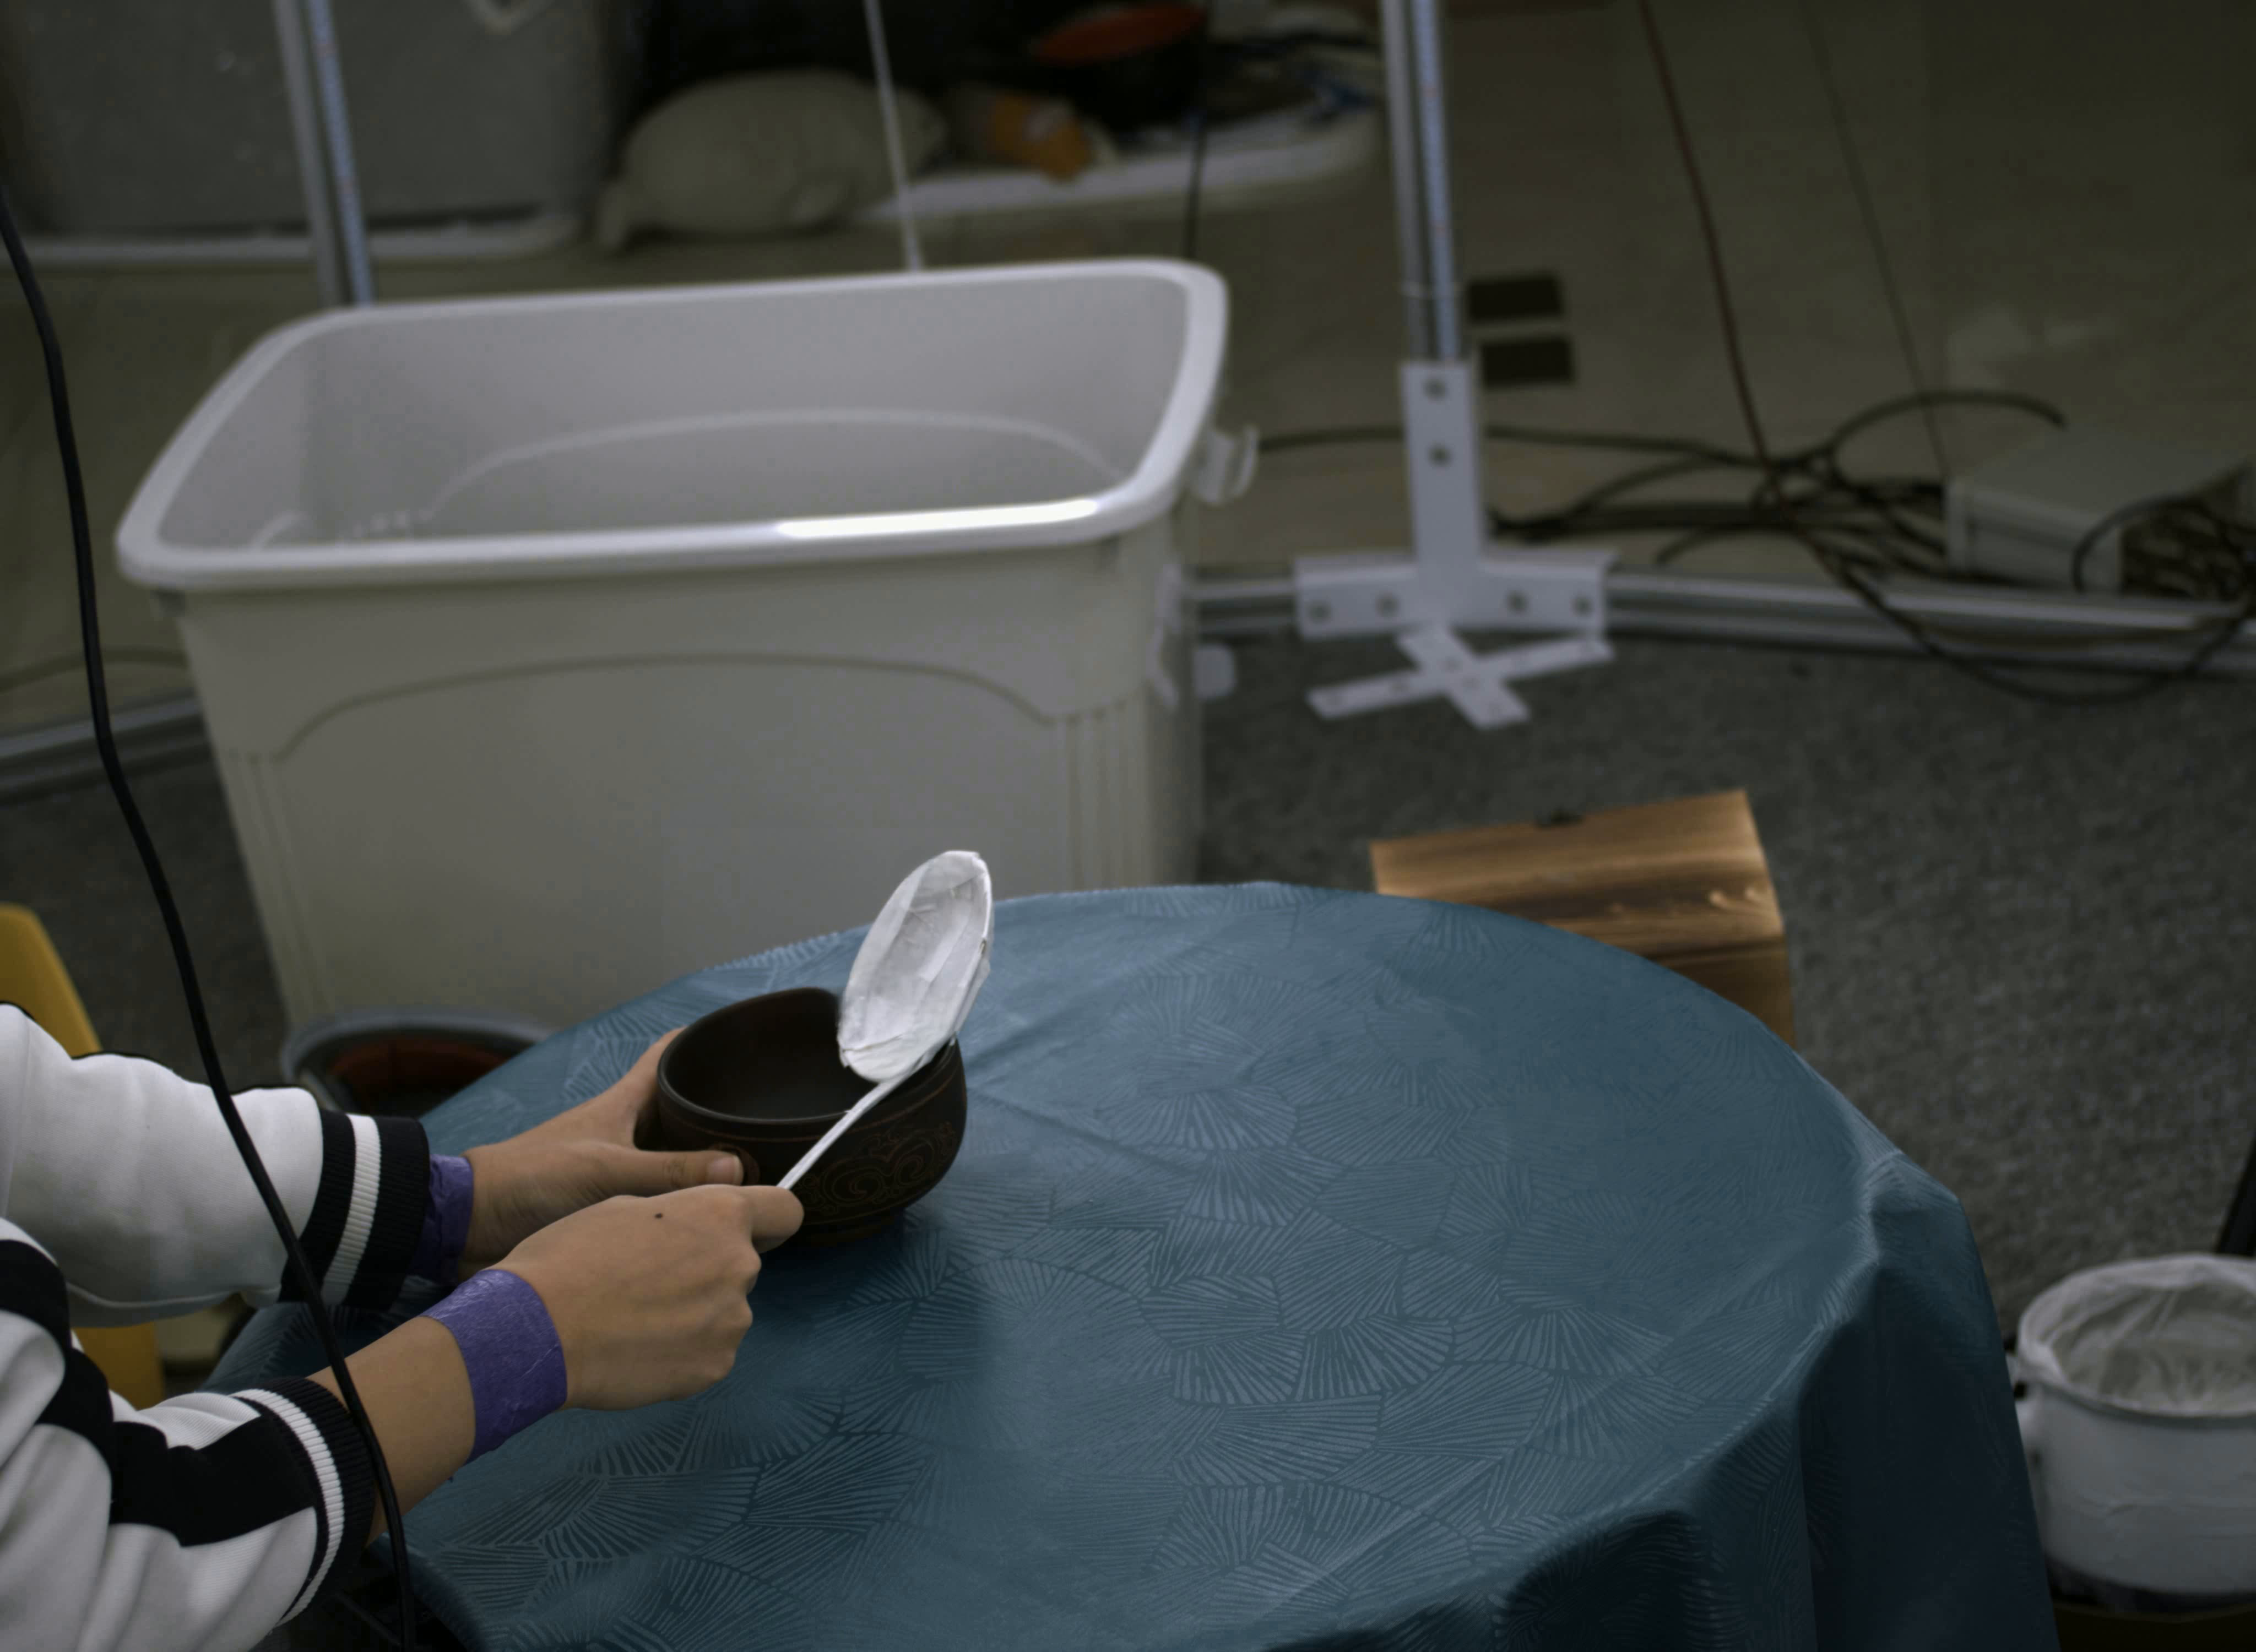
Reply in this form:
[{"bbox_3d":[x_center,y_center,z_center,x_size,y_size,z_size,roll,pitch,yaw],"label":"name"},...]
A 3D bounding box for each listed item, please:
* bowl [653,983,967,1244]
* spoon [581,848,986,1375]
[{"bbox_3d":[-0.118,0.114,2.142,0.118,0.071,0.116,-5,25,2],"label":"bowl"},{"bbox_3d":[-0.134,0.103,2.055,0.274,0.059,0.102,-43,1,-43],"label":"spoon"}]
